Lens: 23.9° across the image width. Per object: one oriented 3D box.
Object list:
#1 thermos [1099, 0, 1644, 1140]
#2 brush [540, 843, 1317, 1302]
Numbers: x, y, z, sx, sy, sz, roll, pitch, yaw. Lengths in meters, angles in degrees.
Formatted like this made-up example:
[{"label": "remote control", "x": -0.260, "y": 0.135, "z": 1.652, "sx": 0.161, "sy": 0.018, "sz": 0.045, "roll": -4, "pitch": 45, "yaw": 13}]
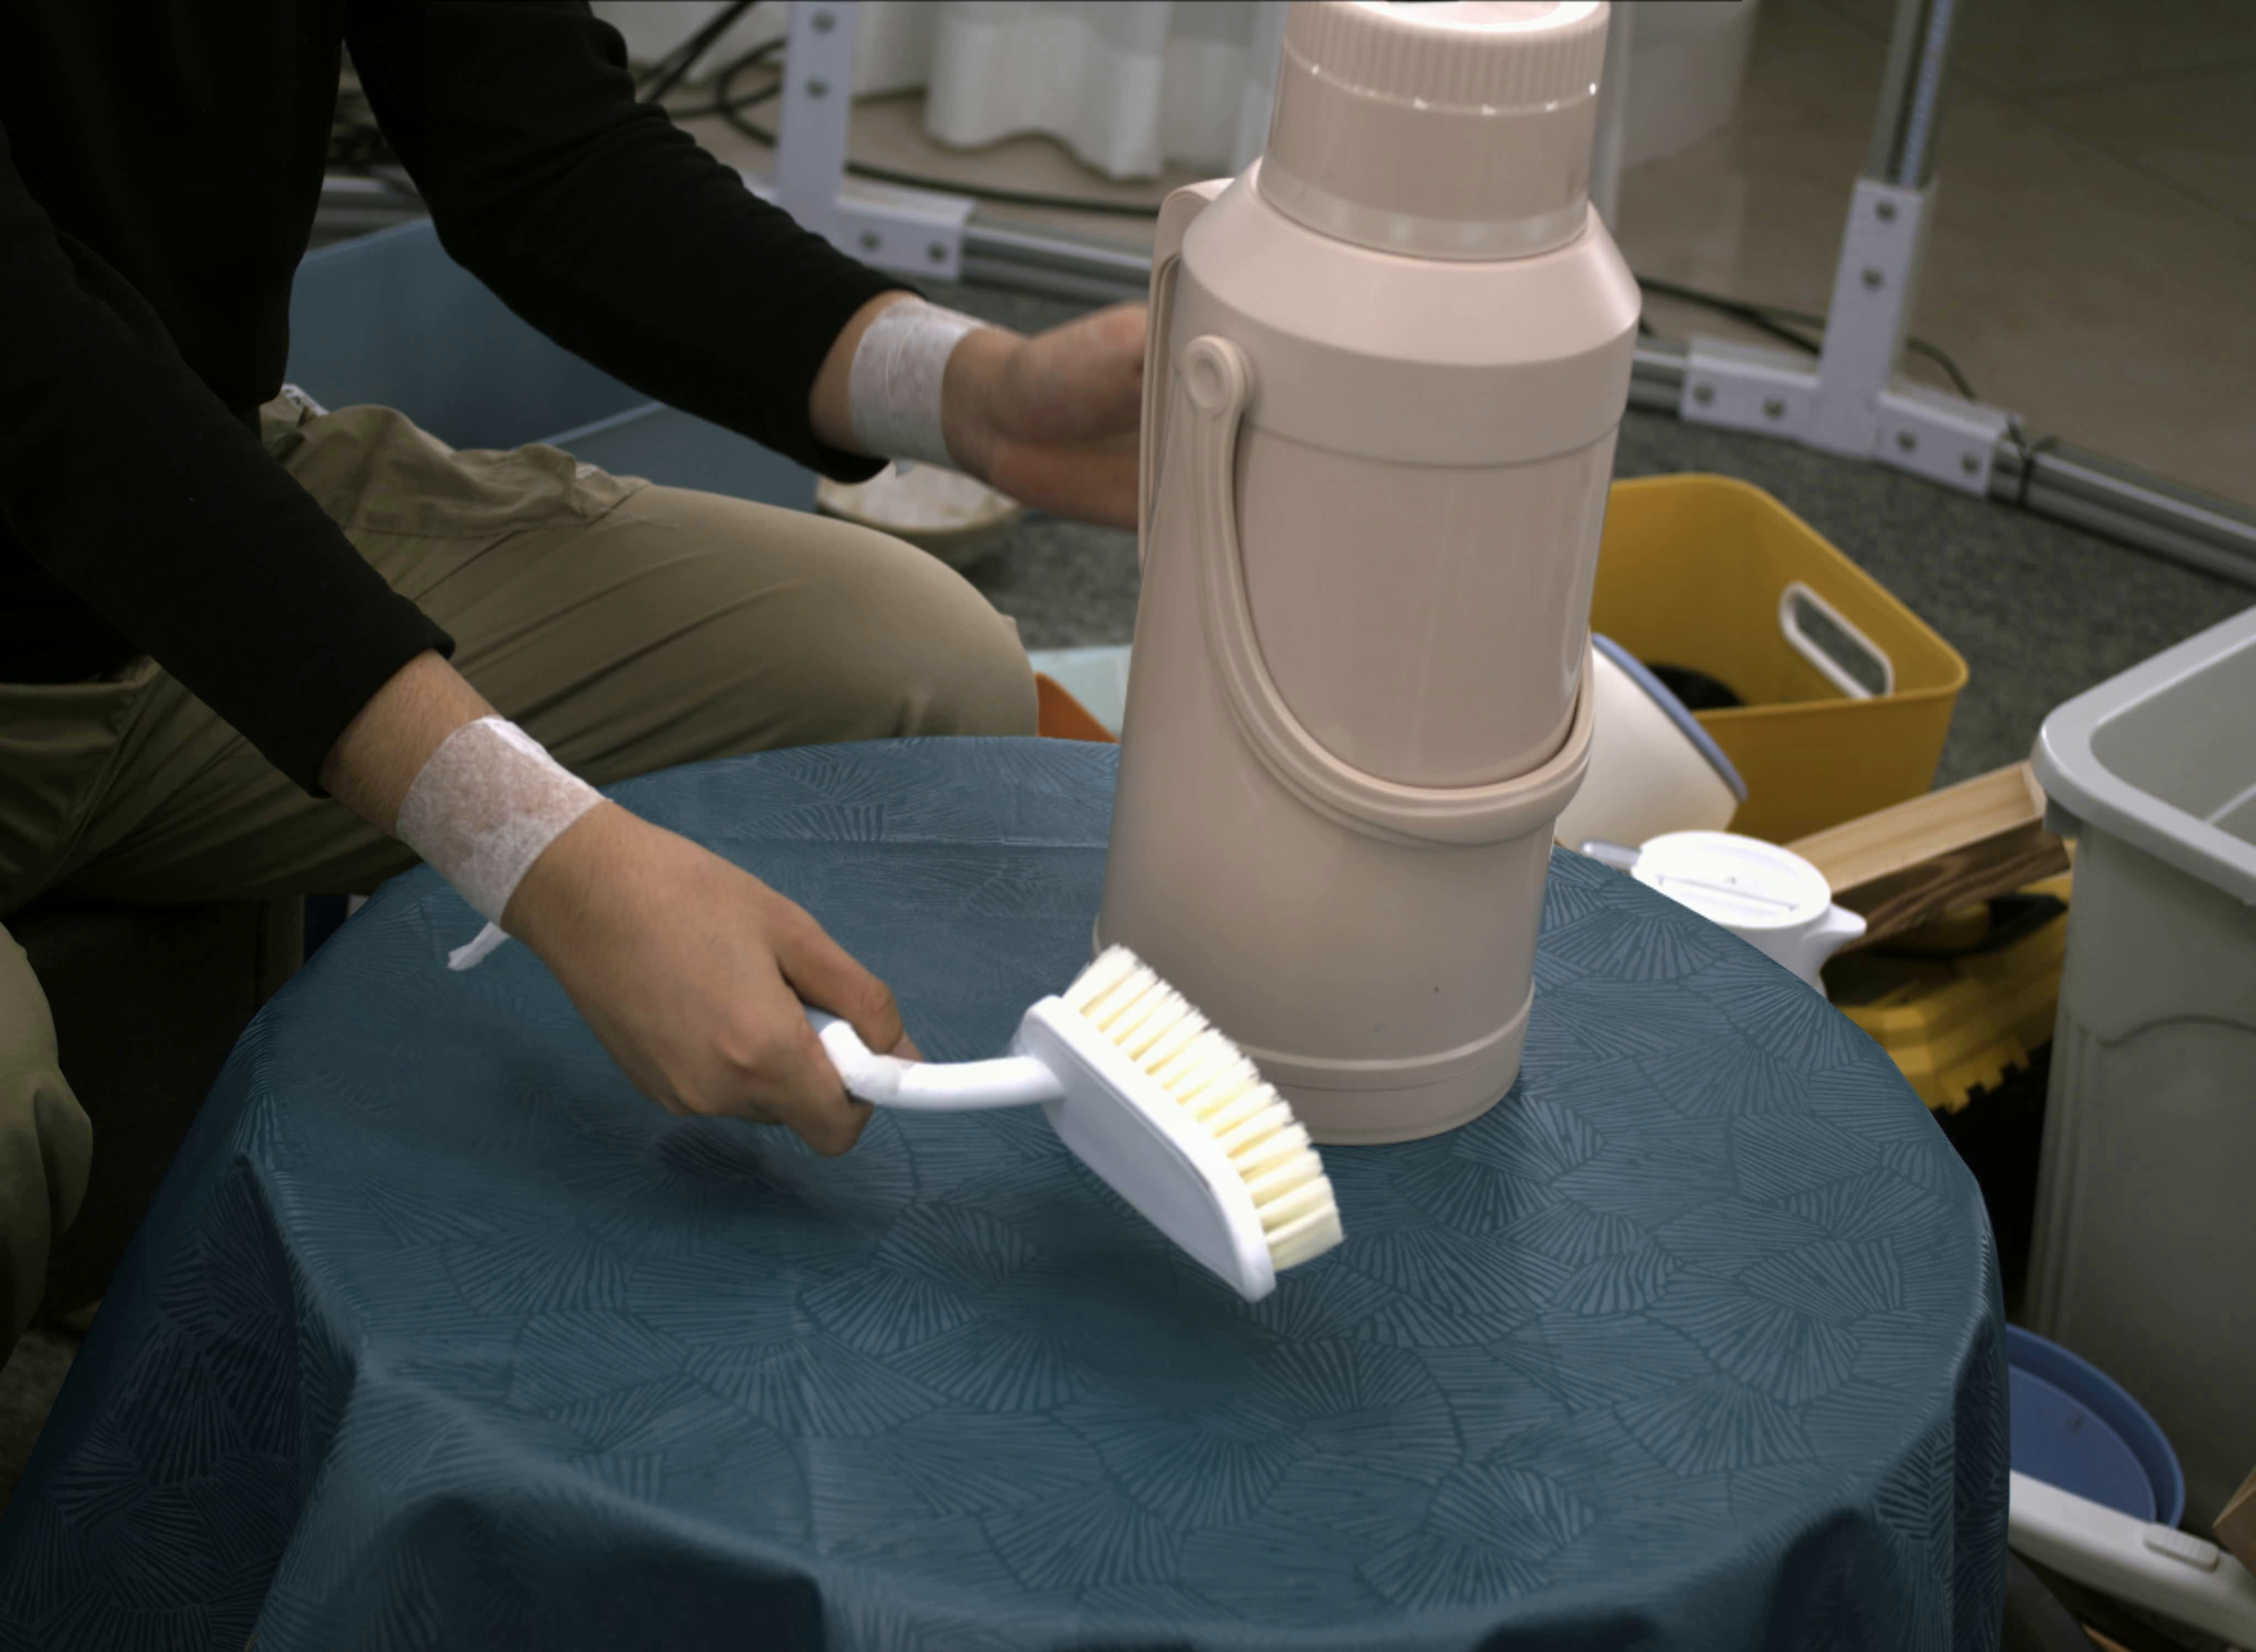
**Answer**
[{"label": "thermos", "x": 0.078, "y": -0.108, "z": 1.837, "sx": 0.174, "sy": 0.405, "sz": 0.209, "roll": -17, "pitch": 35, "yaw": -36}, {"label": "brush", "x": -0.060, "y": 0.056, "z": 1.762, "sx": 0.328, "sy": 0.083, "sz": 0.084, "roll": 28, "pitch": 19, "yaw": 32}]
